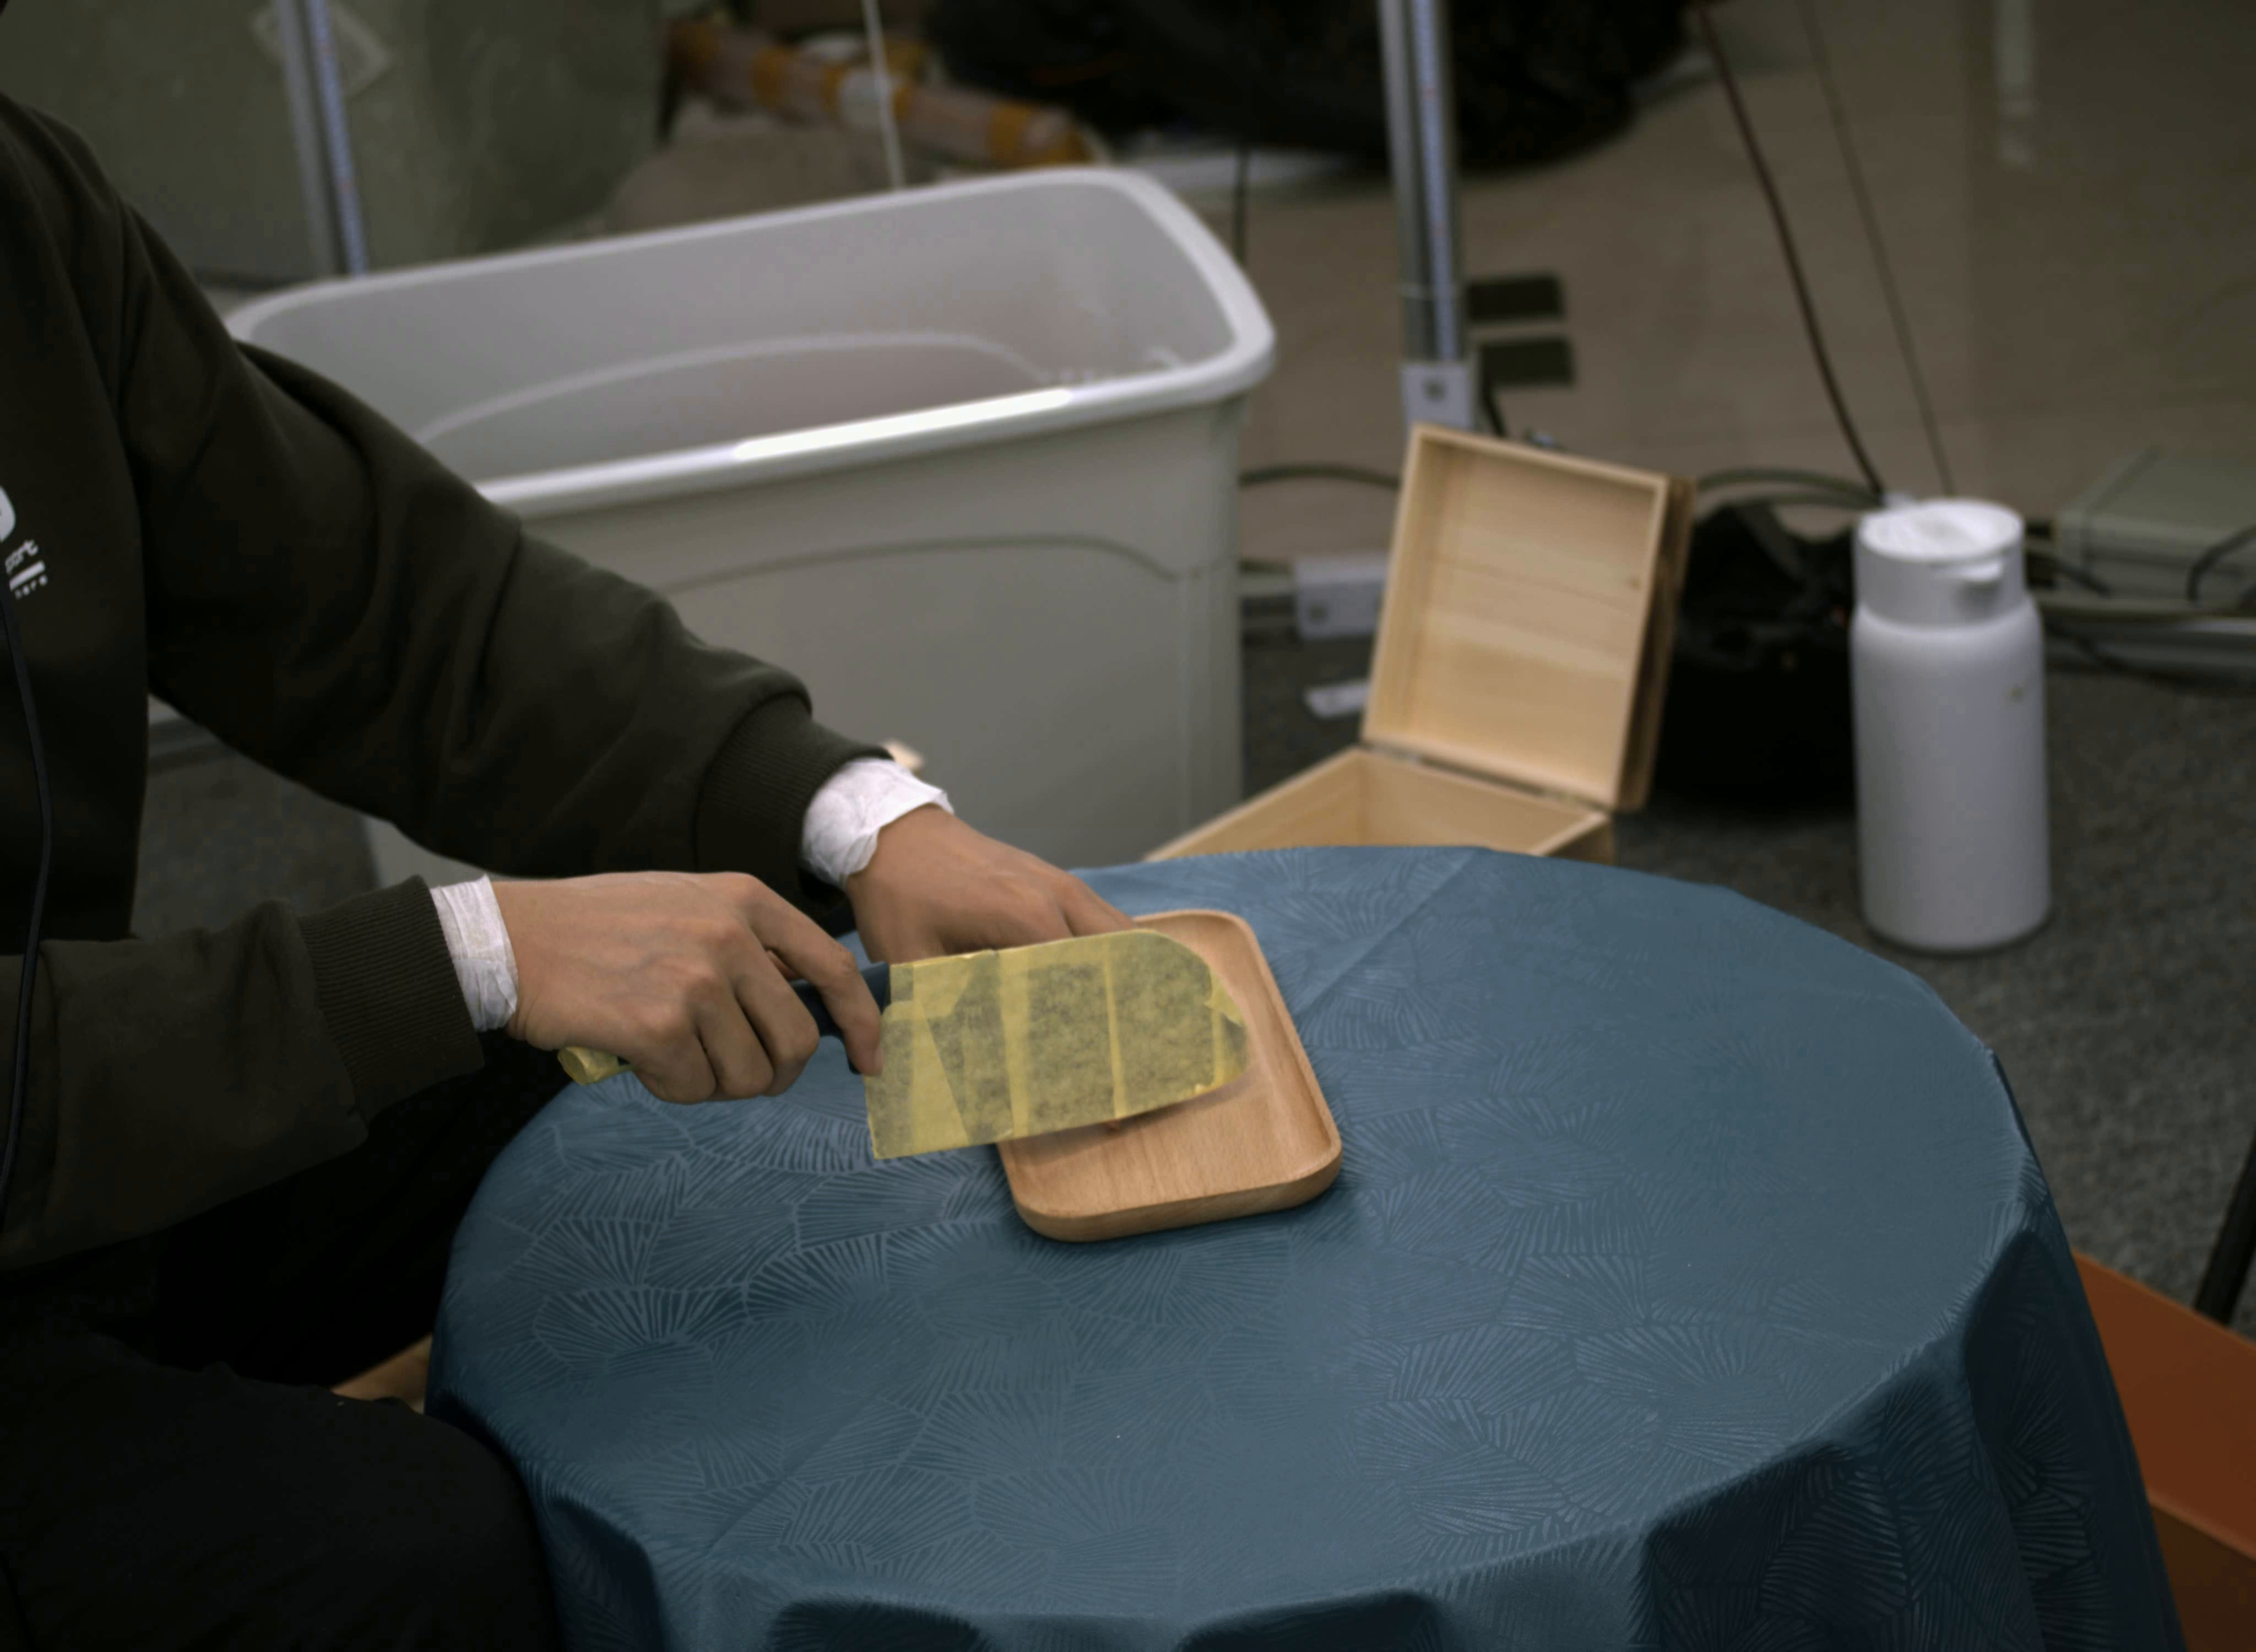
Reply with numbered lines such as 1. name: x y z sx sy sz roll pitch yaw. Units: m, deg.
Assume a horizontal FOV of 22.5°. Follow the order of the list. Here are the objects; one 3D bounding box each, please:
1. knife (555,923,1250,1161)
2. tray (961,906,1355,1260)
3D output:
1. knife: -0.079 0.084 2.129 0.289 0.081 0.027 -5 4 -28
2. tray: 0.007 0.099 2.226 0.130 0.023 0.247 -12 28 -4
